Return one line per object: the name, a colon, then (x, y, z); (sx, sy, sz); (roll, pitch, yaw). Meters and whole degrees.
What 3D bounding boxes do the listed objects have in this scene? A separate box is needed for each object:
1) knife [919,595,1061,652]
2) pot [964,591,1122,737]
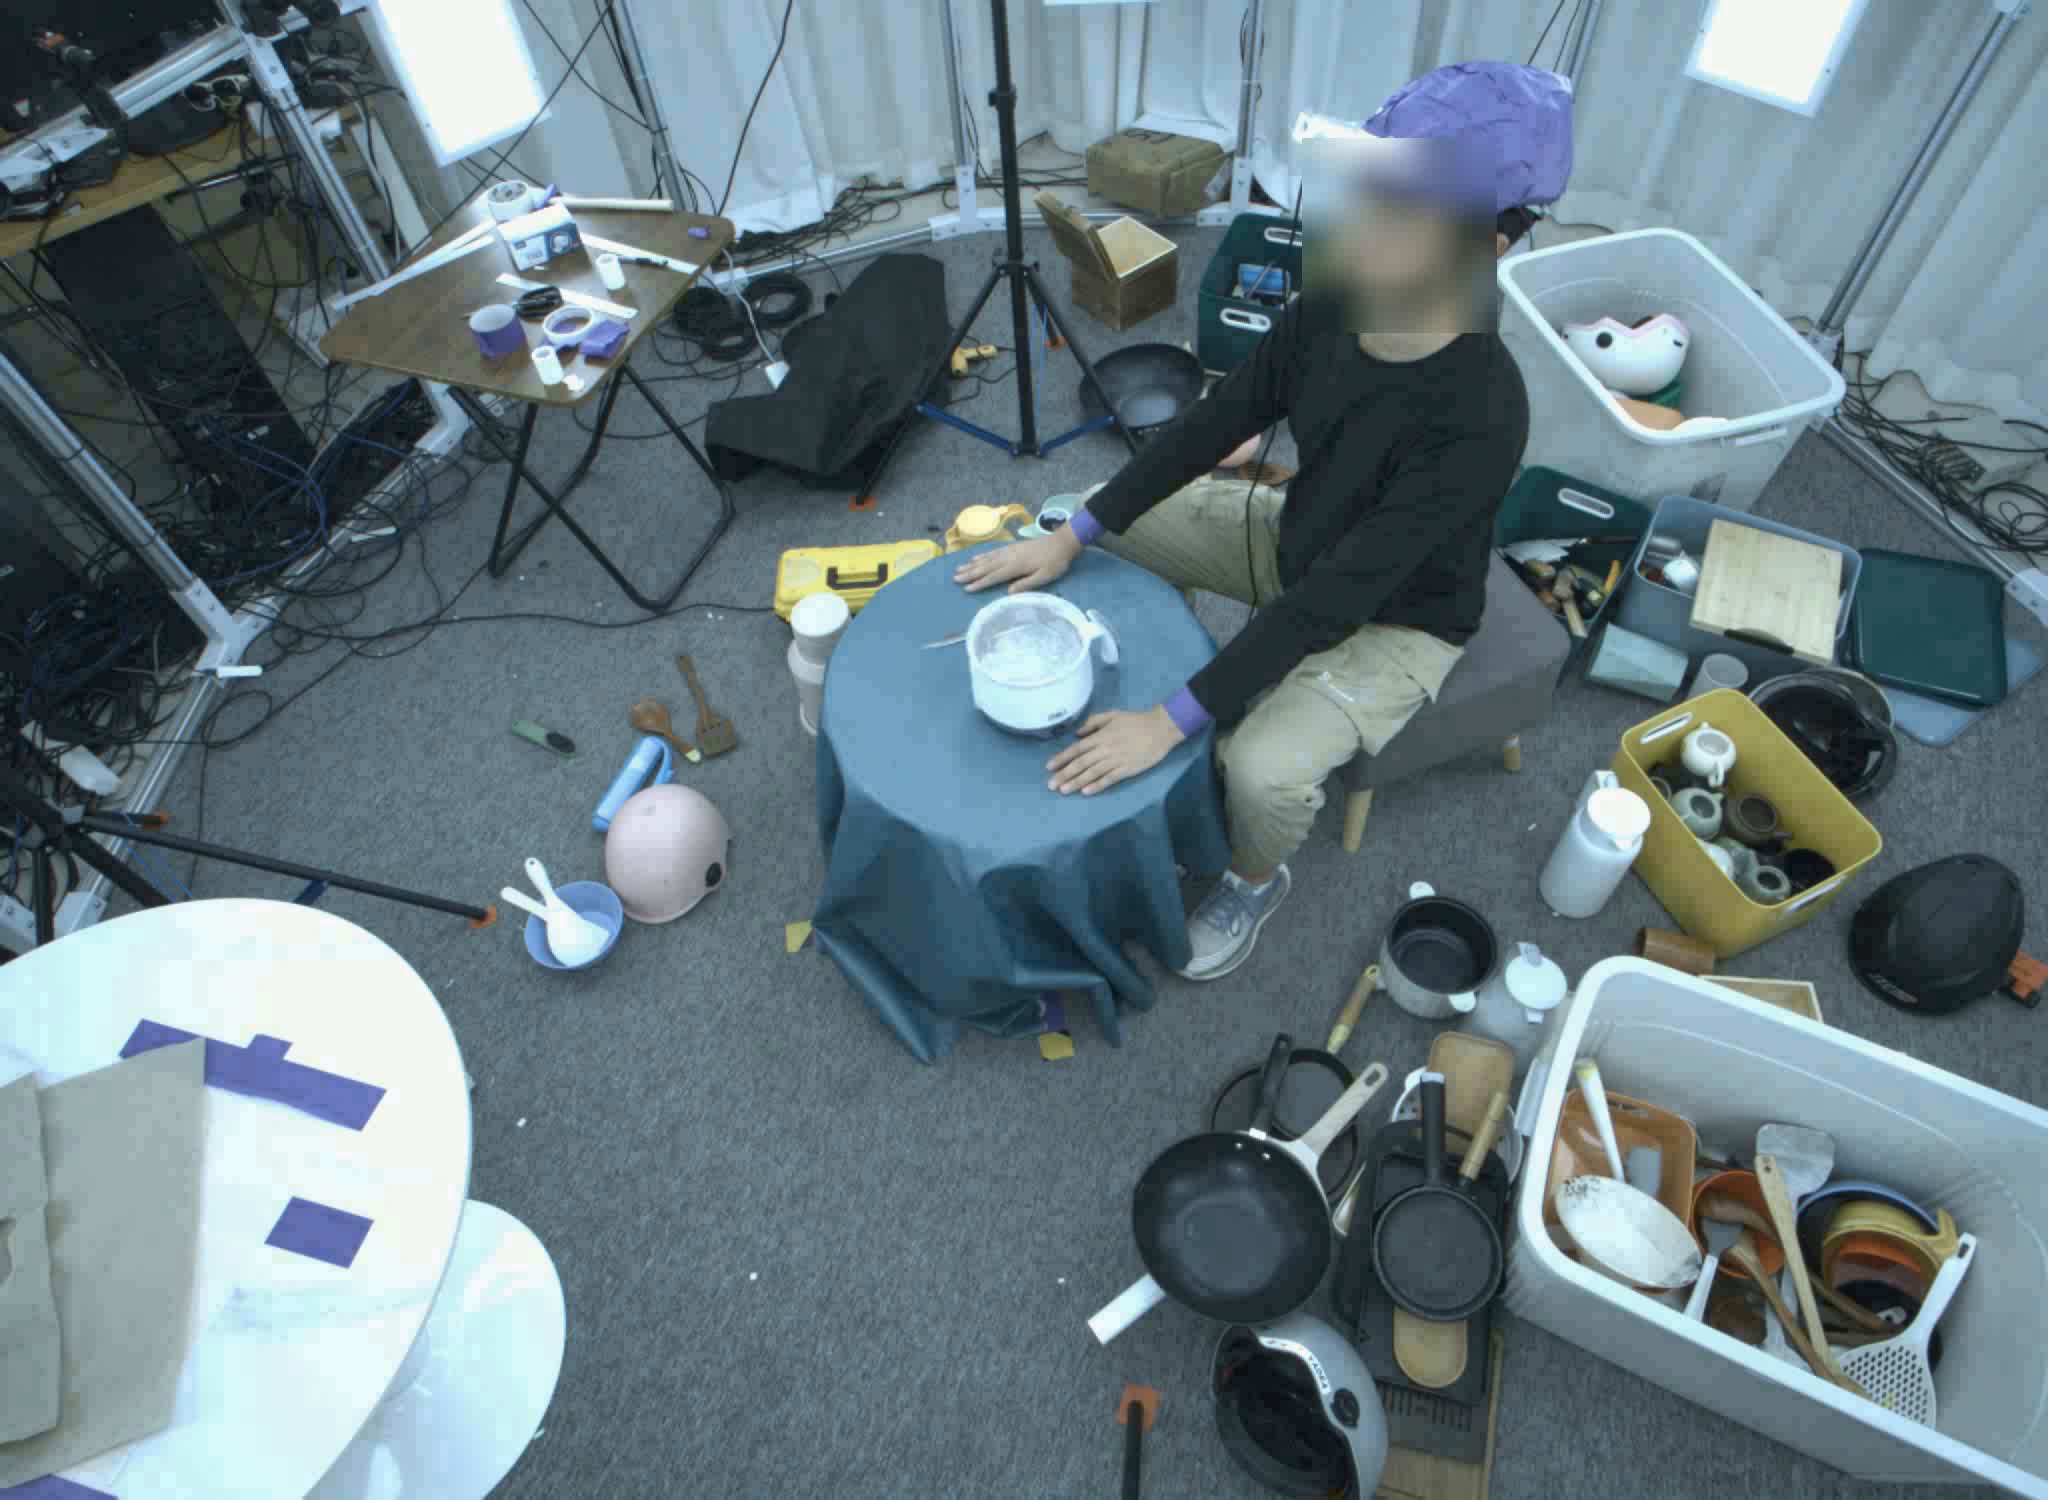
knife: (-0.053, -0.197, 1.919); (0.239, 0.016, 0.024); (-21, 56, -9)
pot: (0.033, -0.133, 1.790); (0.235, 0.138, 0.175); (-24, 58, -13)
